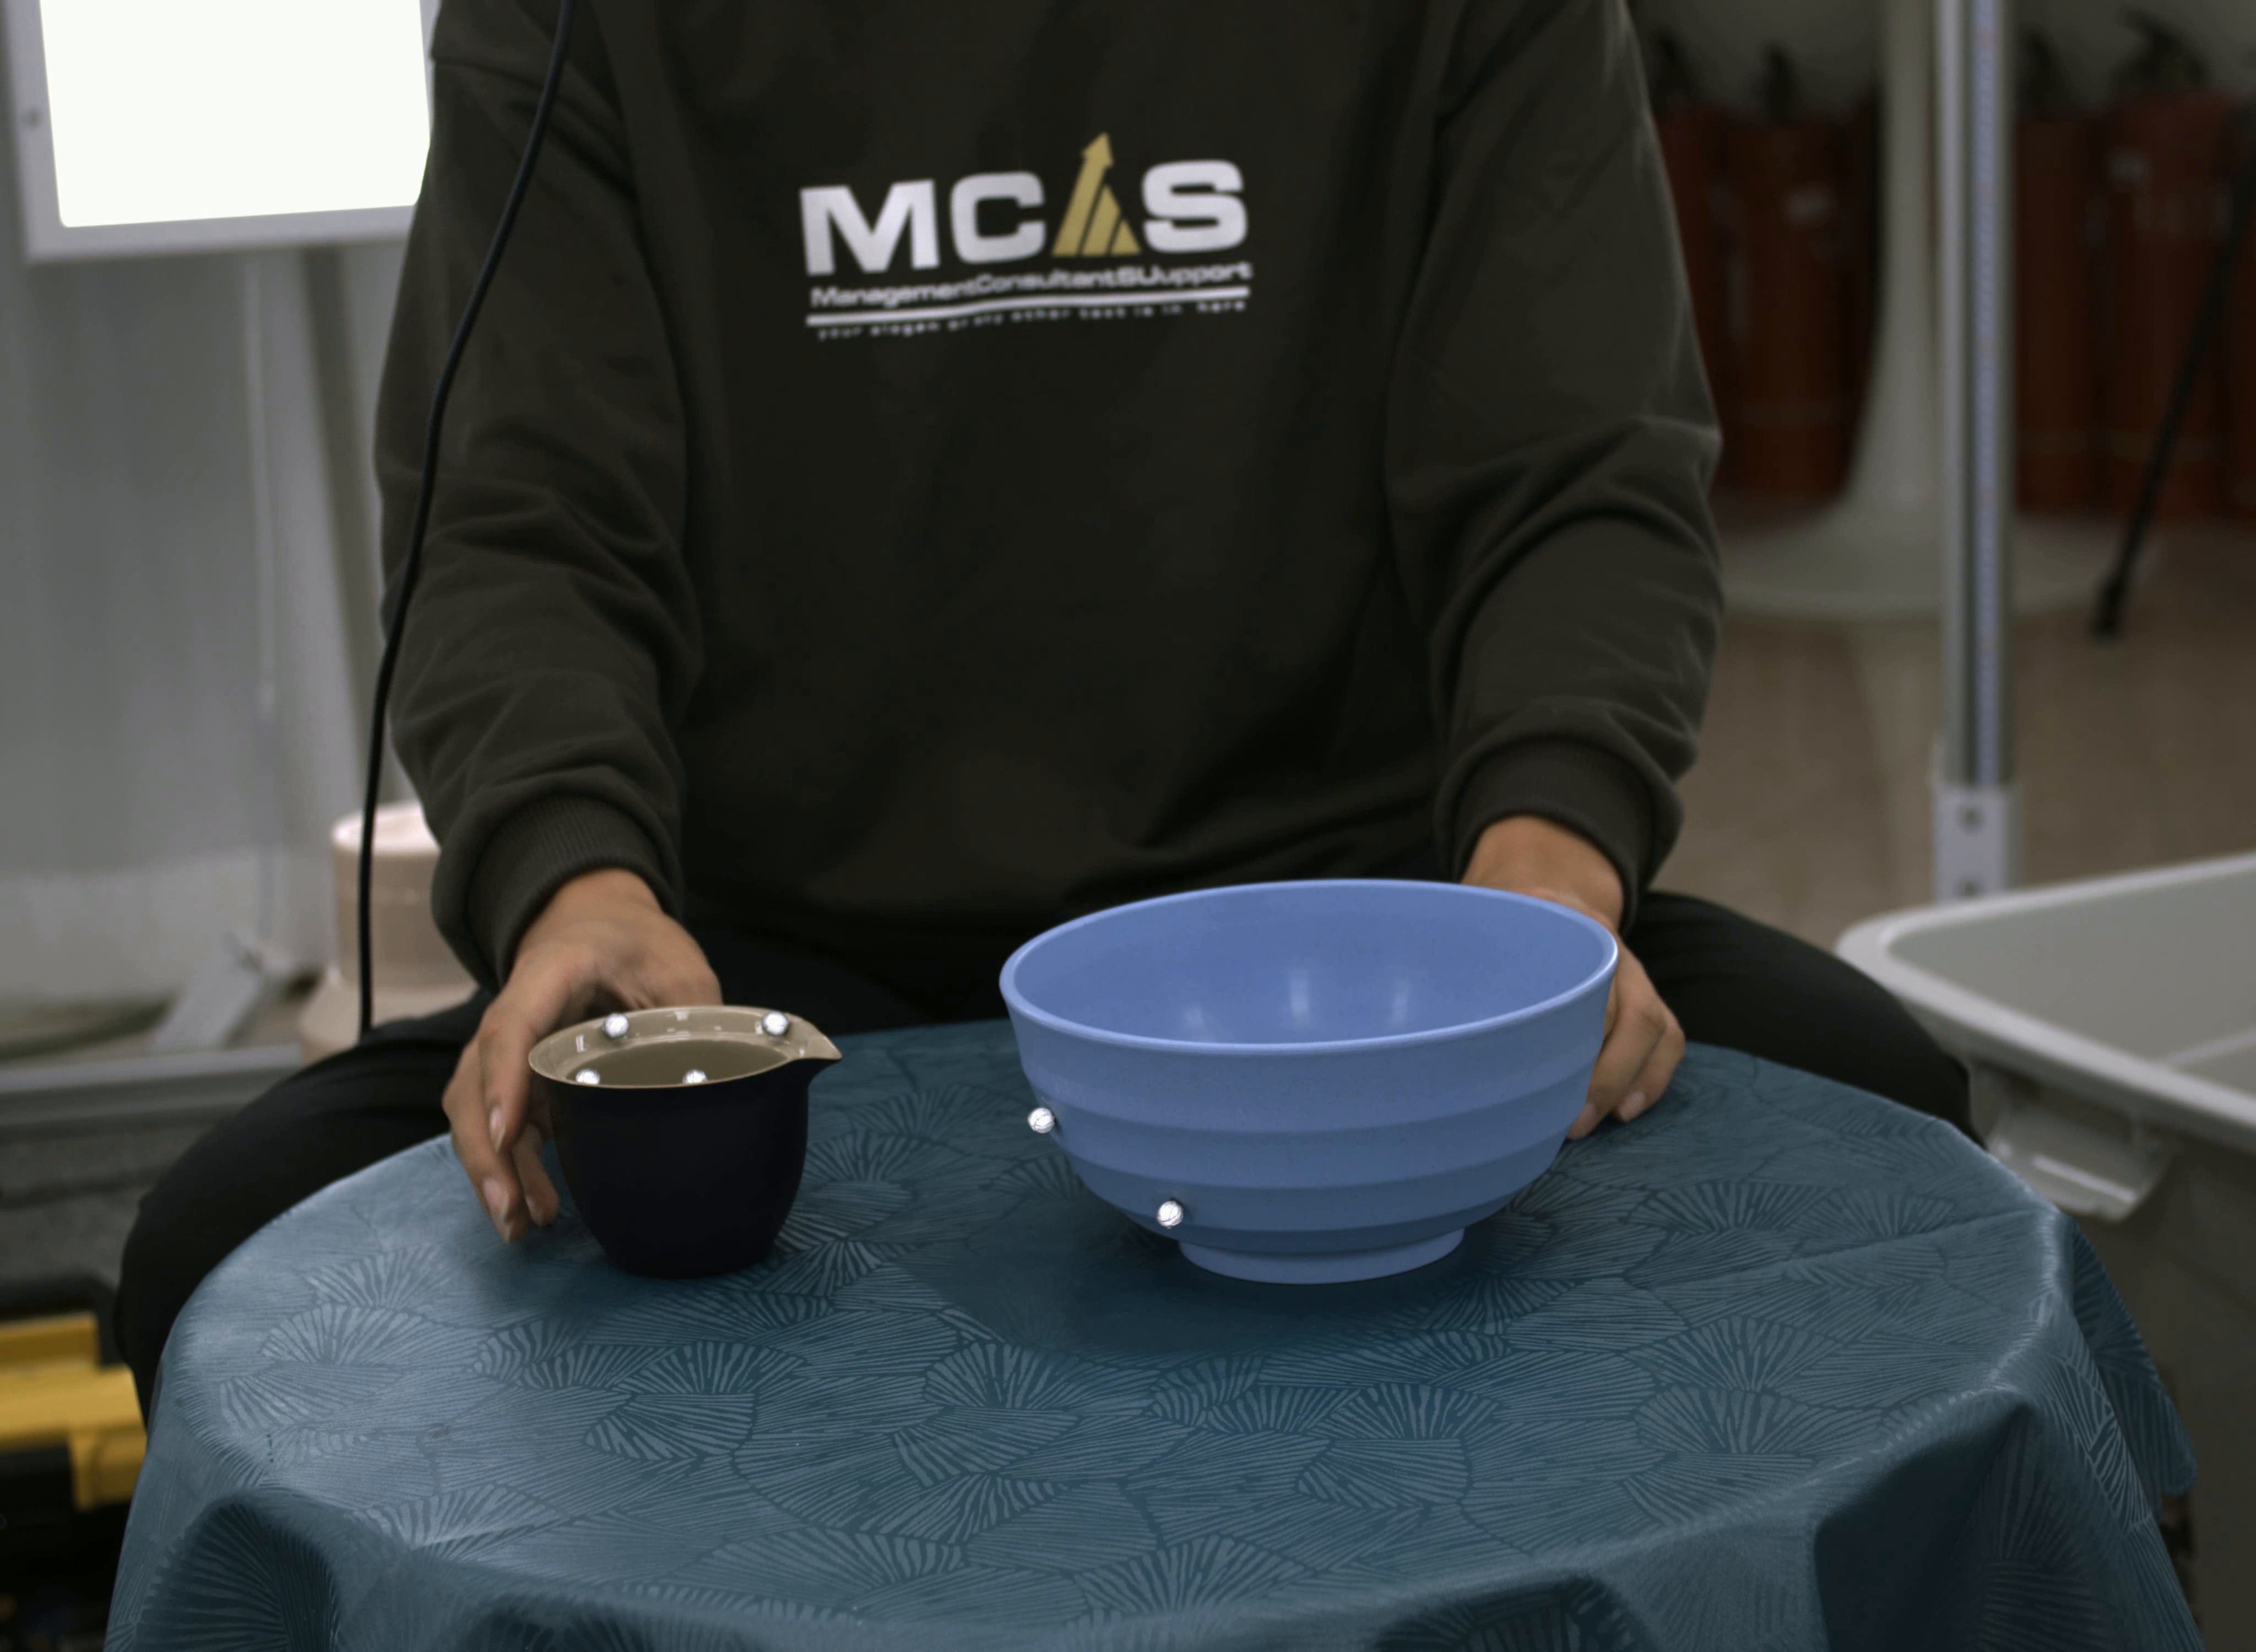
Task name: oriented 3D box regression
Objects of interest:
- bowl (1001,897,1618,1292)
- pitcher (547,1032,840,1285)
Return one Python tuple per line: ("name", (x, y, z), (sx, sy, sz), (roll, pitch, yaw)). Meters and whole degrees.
("bowl", (0.059, 0.089, 1.703), (0.194, 0.096, 0.197), (-3, 11, 0))
("pitcher", (-0.136, 0.105, 1.728), (0.095, 0.072, 0.083), (-1, 12, 12))
